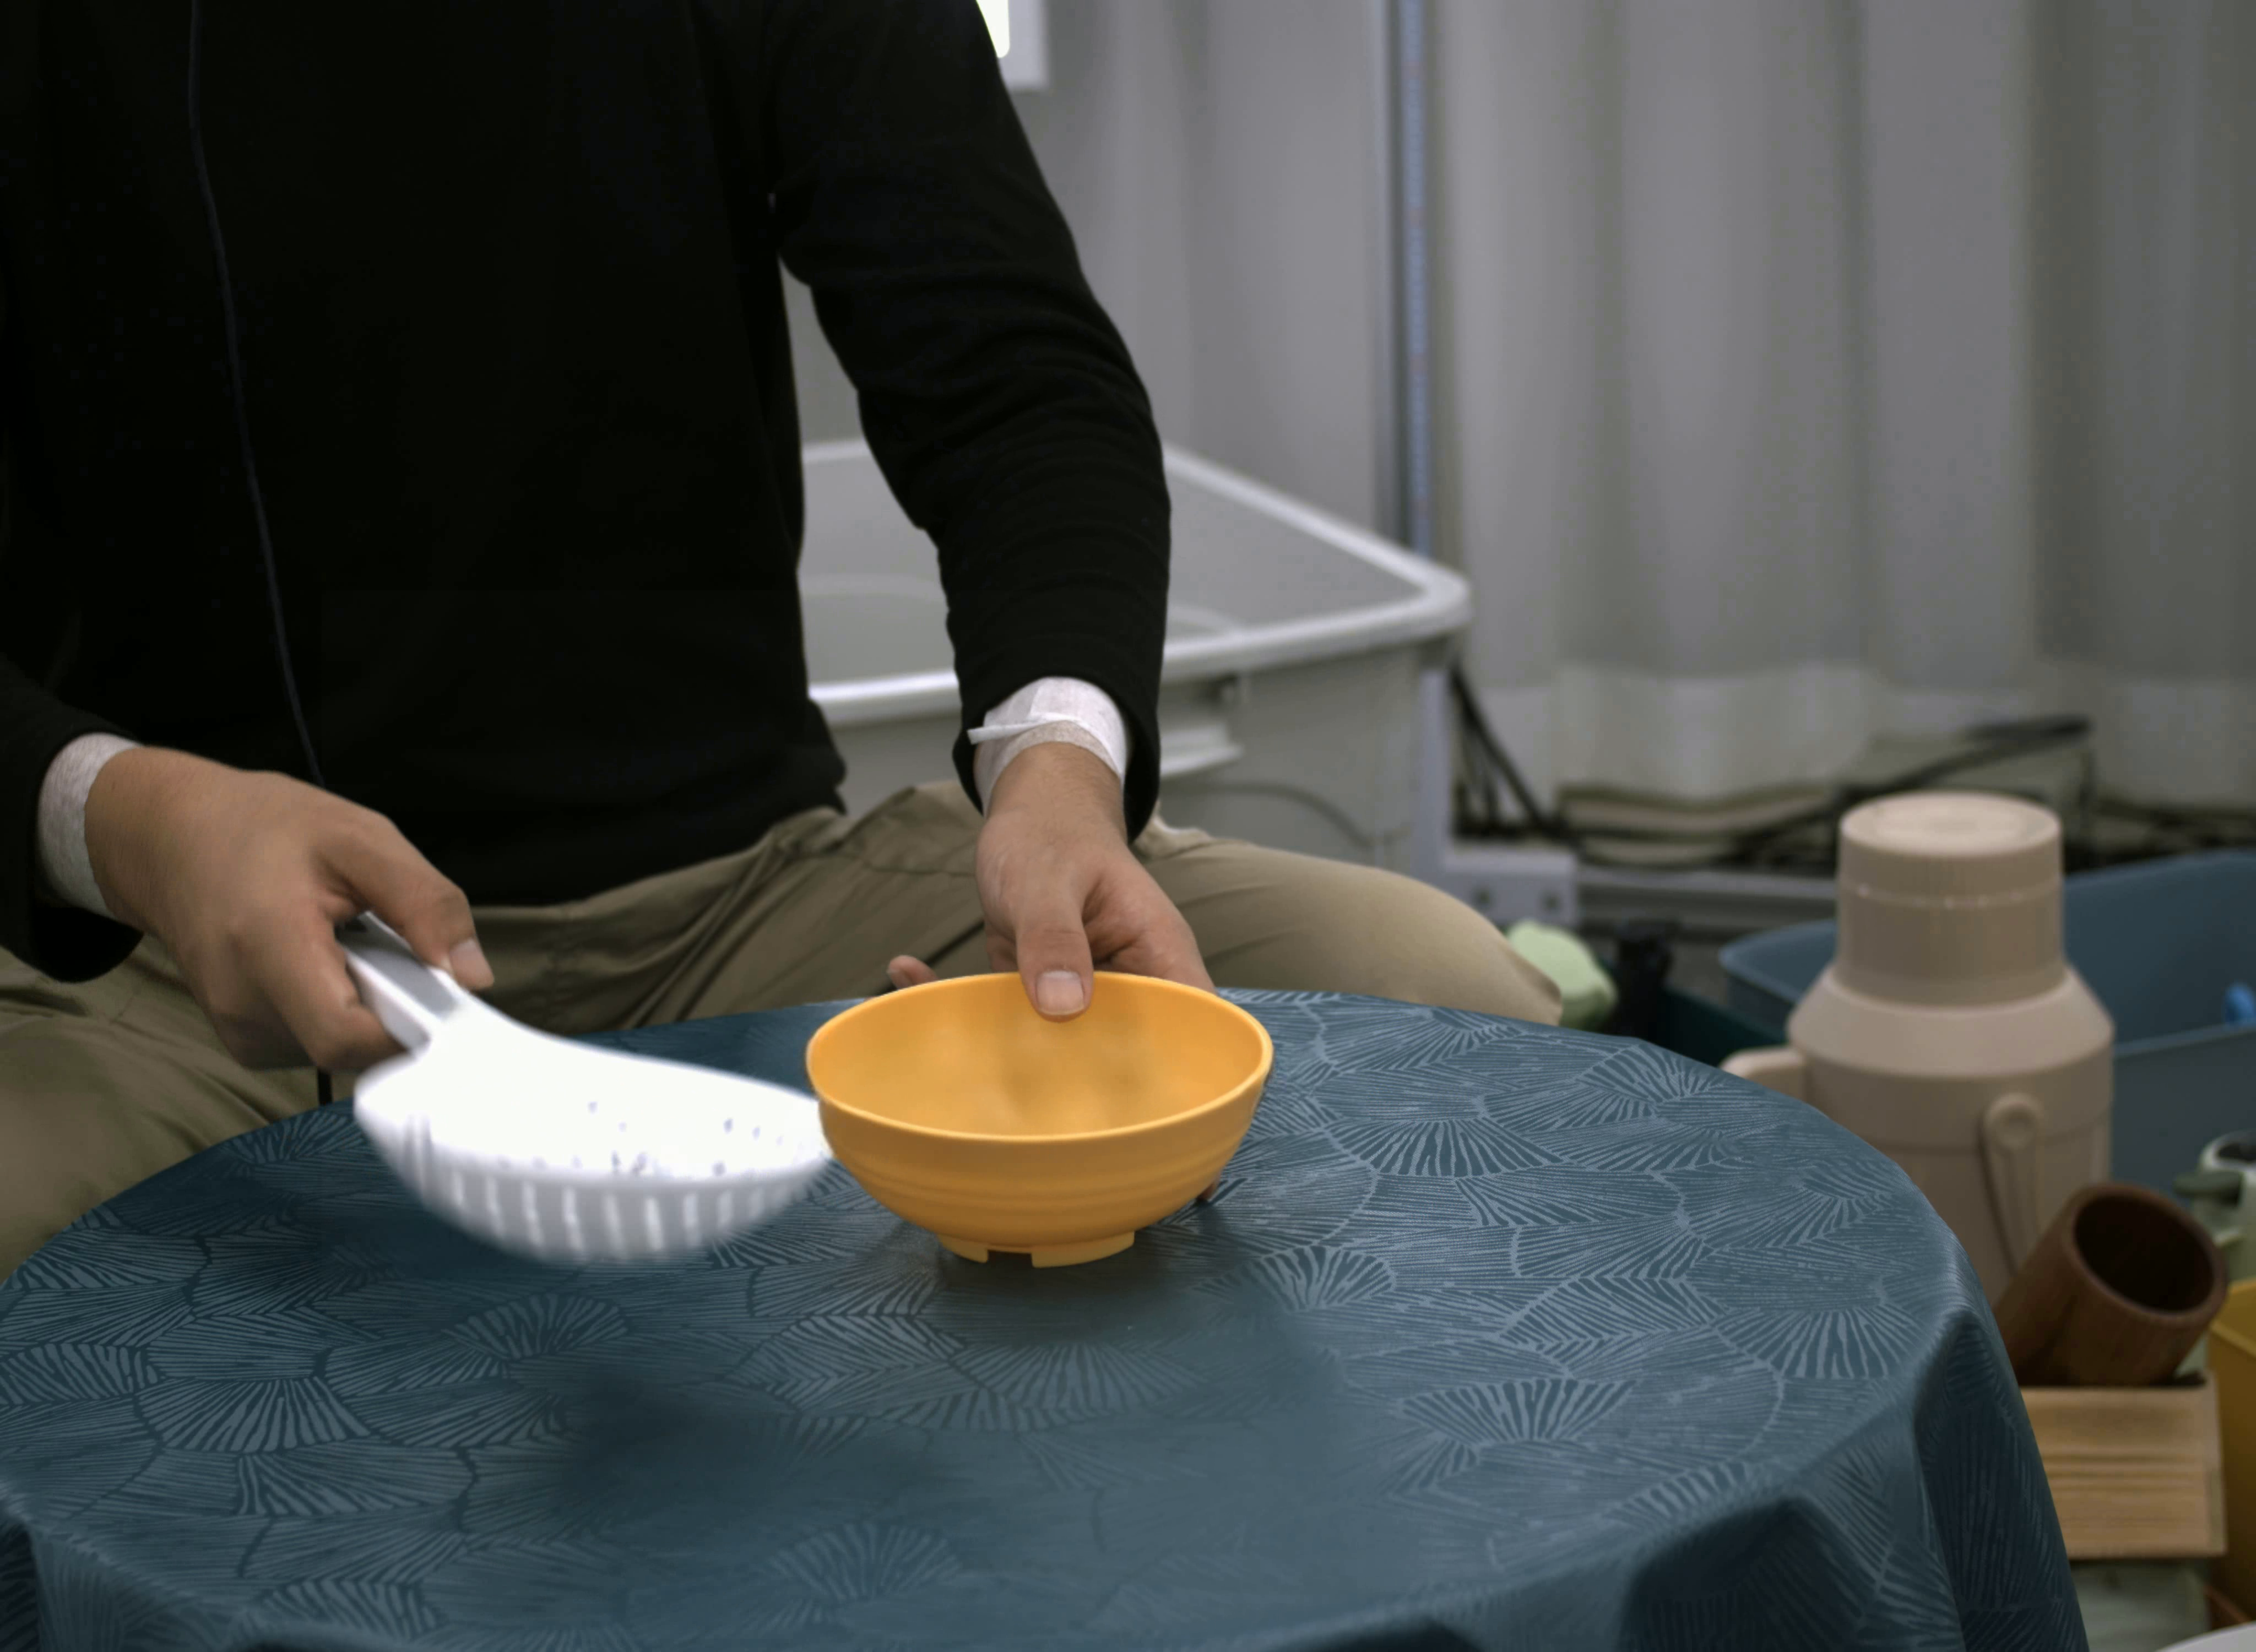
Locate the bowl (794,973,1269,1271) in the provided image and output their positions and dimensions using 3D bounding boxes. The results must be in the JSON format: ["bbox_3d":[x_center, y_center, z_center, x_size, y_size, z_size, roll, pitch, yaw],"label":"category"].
[{"bbox_3d":[-0.030,0.097,1.672,0.145,0.060,0.146,0,18,0],"label":"bowl"}]

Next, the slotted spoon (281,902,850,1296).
[{"bbox_3d":[-0.189,0.071,1.597,0.135,0.045,0.353,-3,19,-24],"label":"slotted spoon"}]
